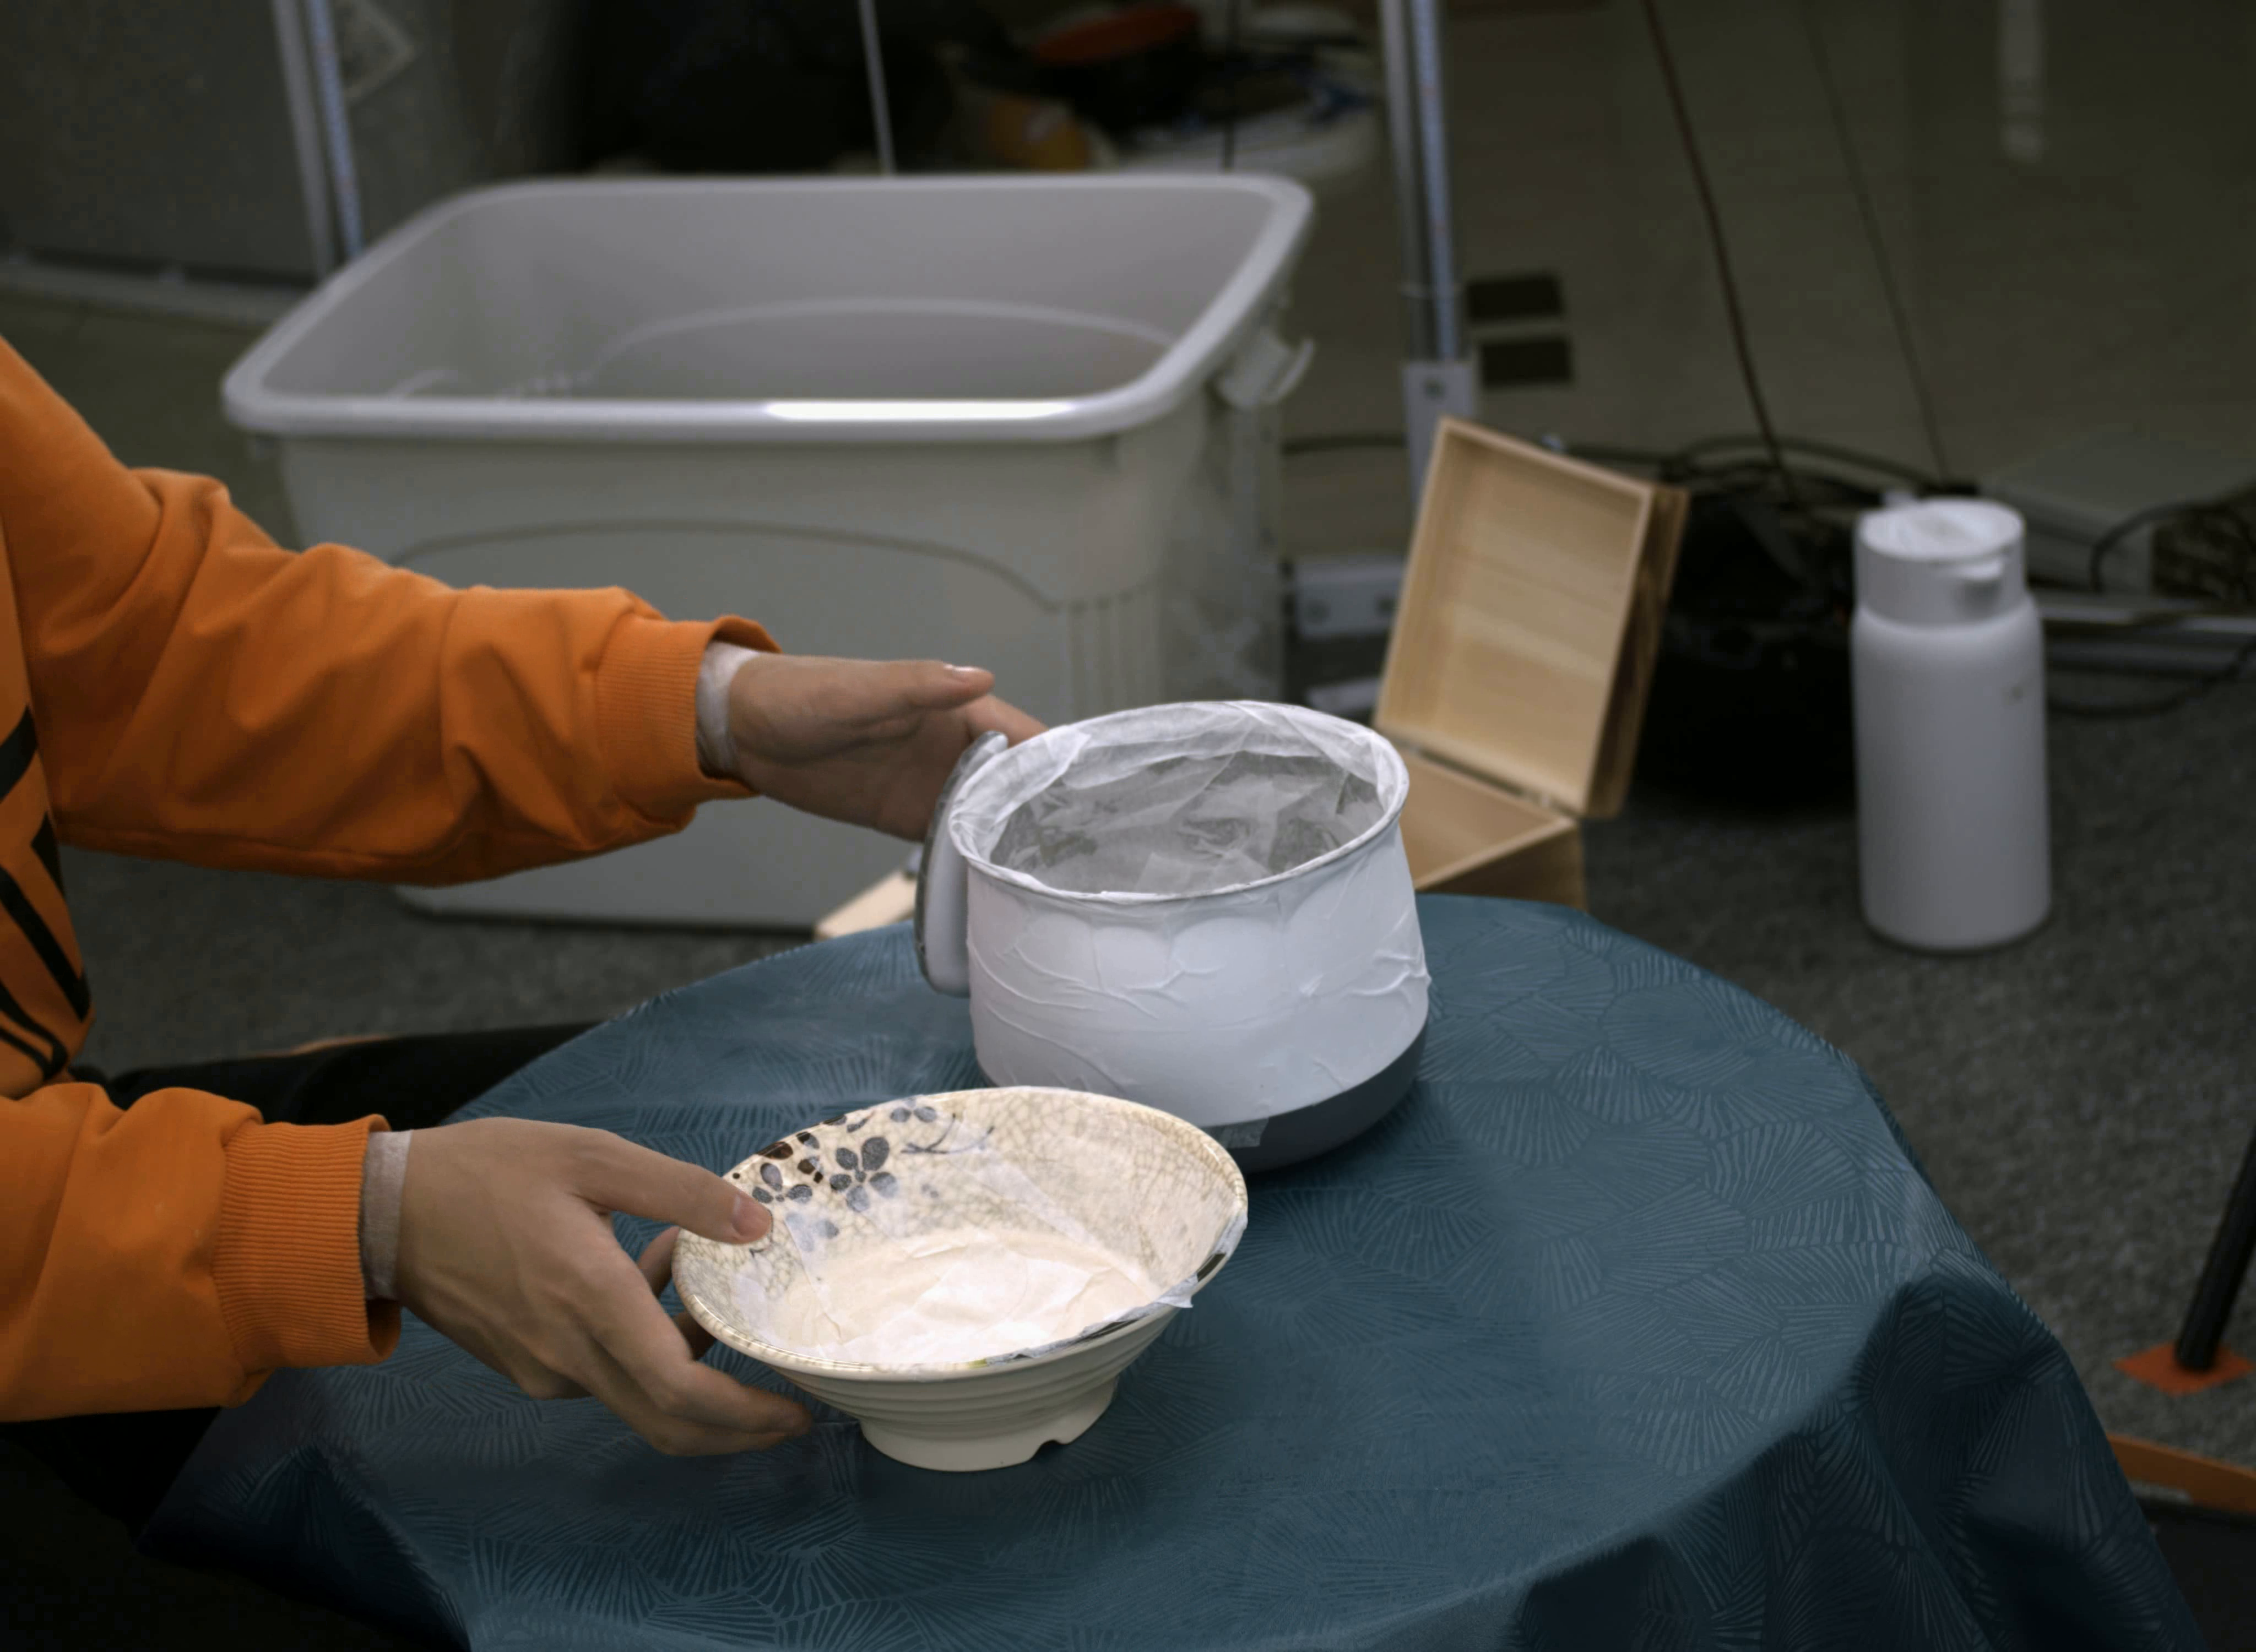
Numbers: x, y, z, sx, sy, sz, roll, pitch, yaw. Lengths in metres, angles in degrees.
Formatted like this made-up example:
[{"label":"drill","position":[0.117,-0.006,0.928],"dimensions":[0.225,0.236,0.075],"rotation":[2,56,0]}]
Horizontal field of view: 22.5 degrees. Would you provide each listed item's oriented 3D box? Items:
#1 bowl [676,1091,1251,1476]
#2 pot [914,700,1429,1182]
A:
[{"label":"bowl","position":[-0.053,0.173,1.998],"dimensions":[0.204,0.079,0.201],"rotation":[-7,25,4]},{"label":"pot","position":[0.004,0.040,2.192],"dimensions":[0.232,0.139,0.177],"rotation":[16,33,39]}]
